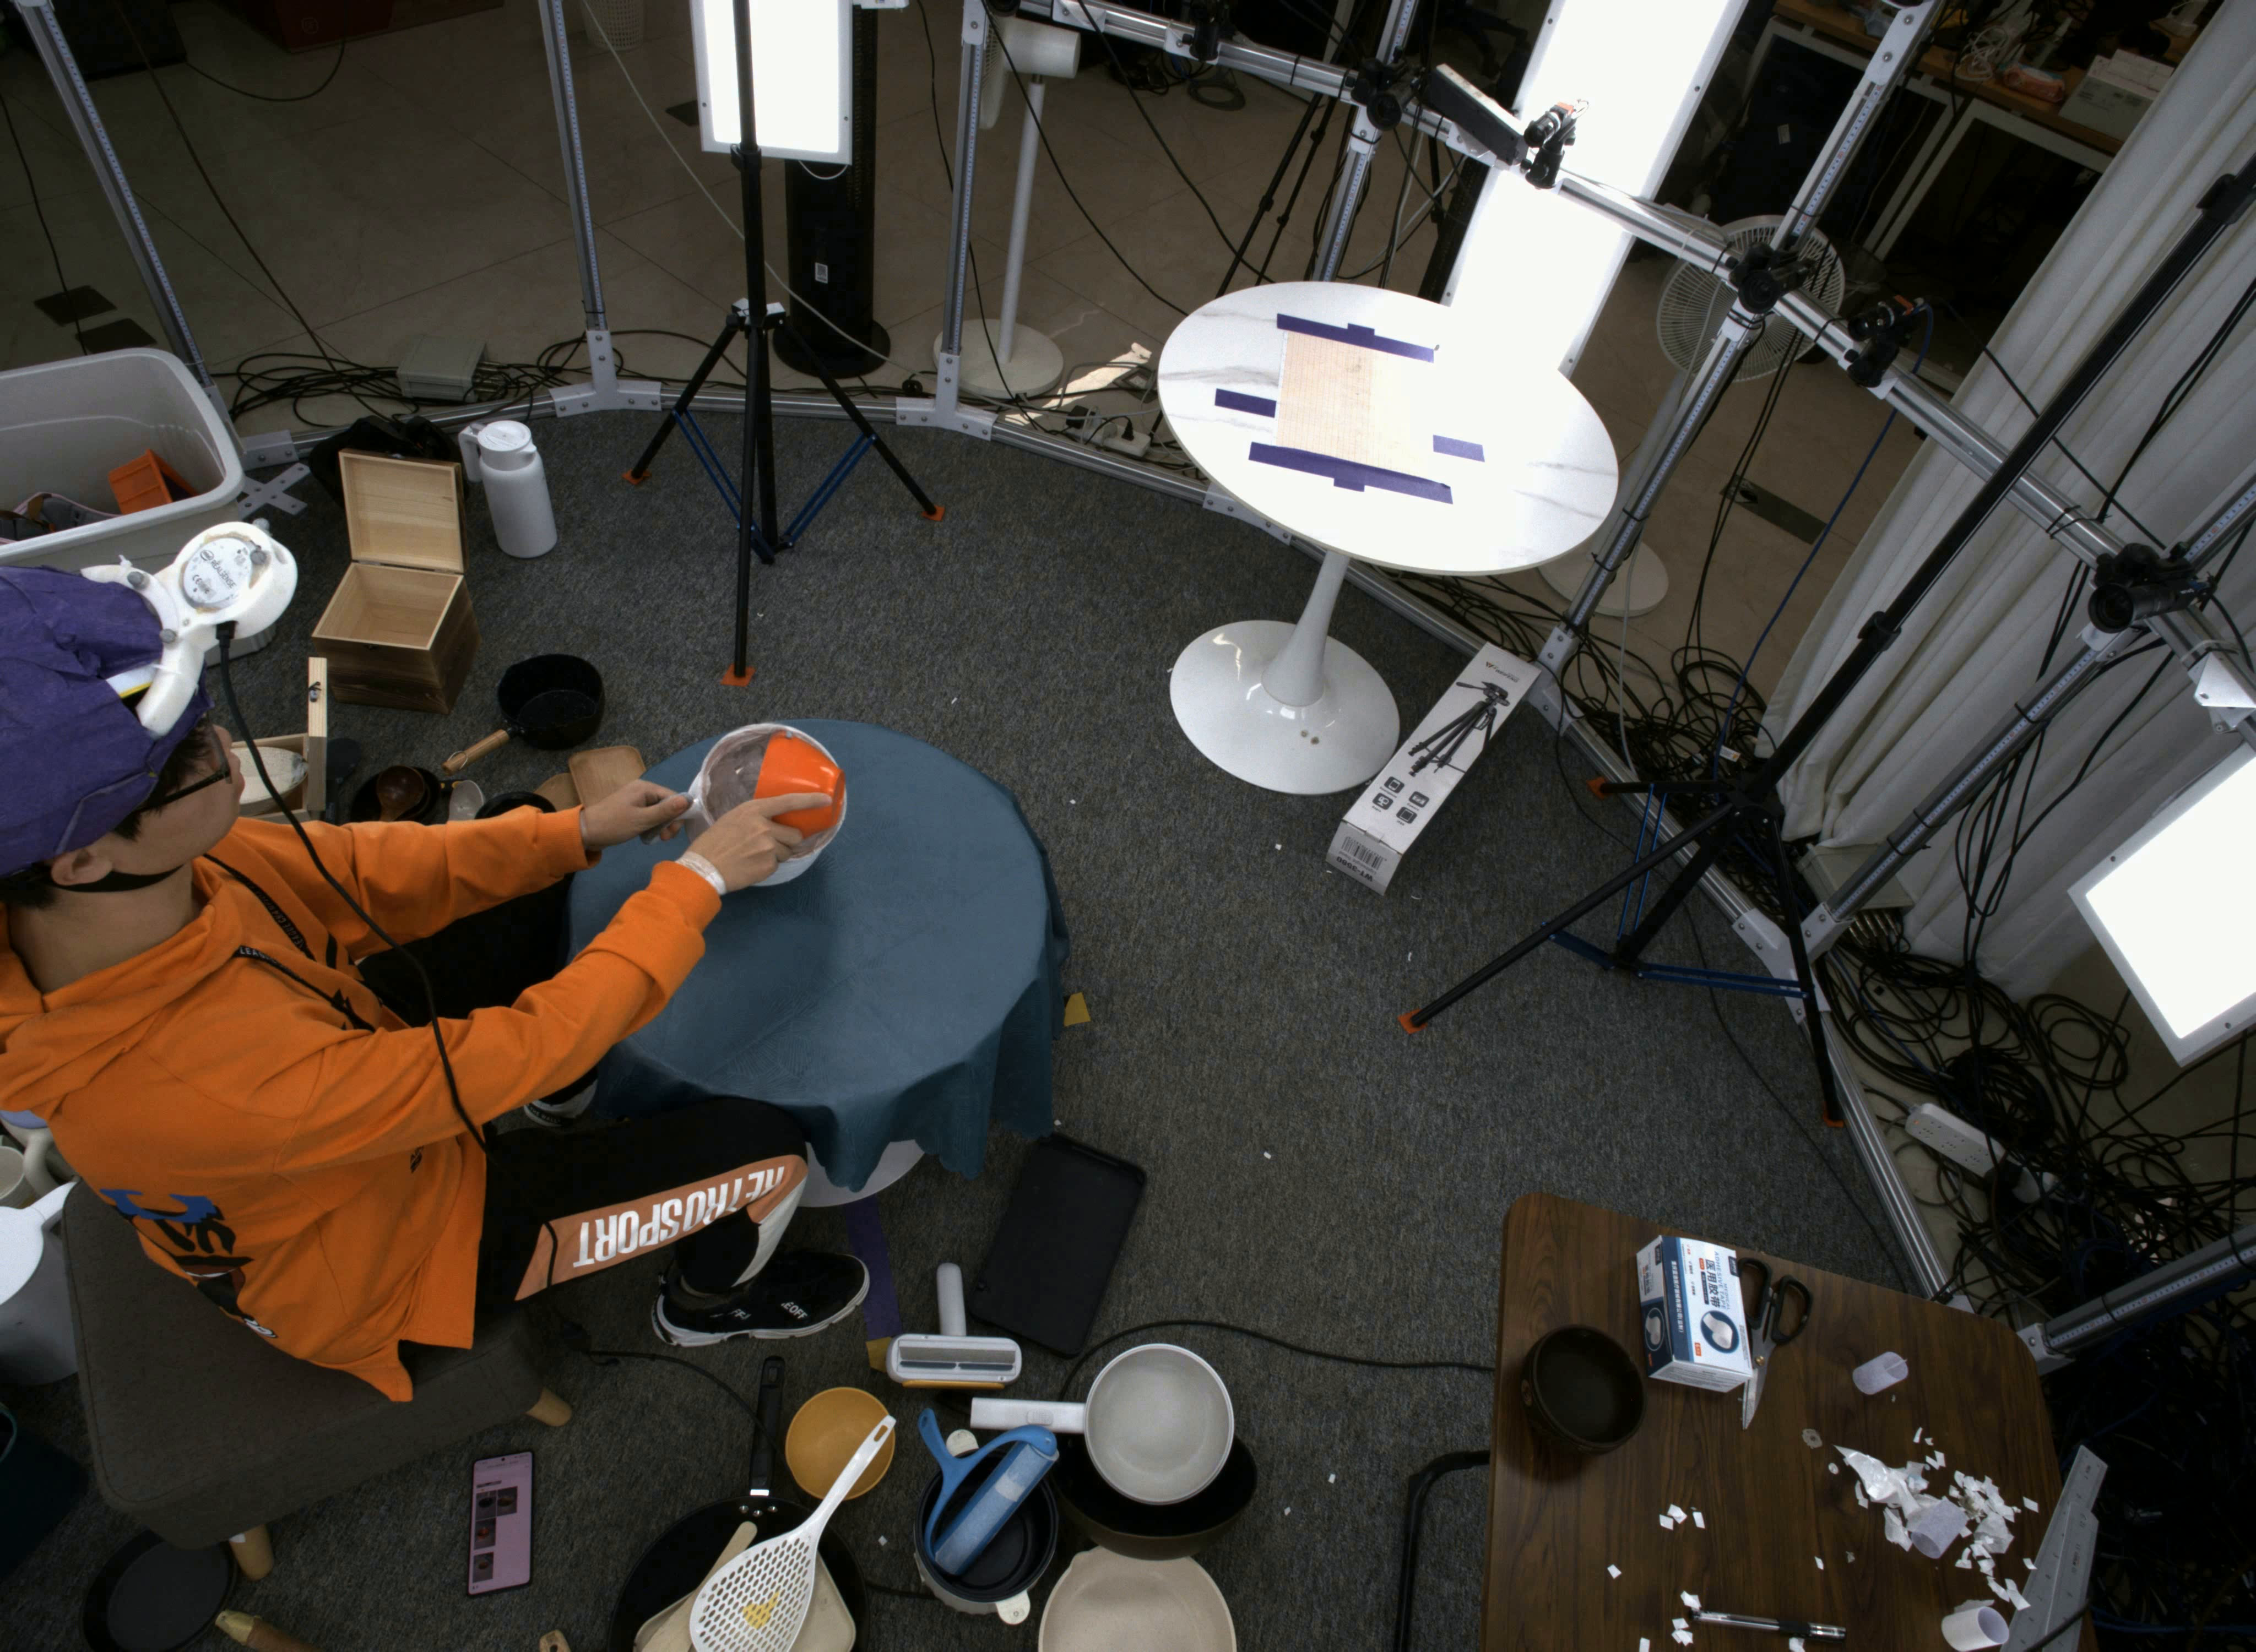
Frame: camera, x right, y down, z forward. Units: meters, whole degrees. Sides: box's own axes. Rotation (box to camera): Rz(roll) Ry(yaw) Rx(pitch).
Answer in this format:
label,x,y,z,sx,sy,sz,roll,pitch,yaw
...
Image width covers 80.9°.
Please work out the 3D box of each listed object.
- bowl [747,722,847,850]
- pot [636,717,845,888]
label,x,y,z,sx,sy,sz,roll,pitch,yaw
bowl,-0.380,-0.041,1.488,0.104,0.151,0.145,8,51,-4
pot,-0.472,-0.021,1.560,0.236,0.135,0.178,-9,76,-32
